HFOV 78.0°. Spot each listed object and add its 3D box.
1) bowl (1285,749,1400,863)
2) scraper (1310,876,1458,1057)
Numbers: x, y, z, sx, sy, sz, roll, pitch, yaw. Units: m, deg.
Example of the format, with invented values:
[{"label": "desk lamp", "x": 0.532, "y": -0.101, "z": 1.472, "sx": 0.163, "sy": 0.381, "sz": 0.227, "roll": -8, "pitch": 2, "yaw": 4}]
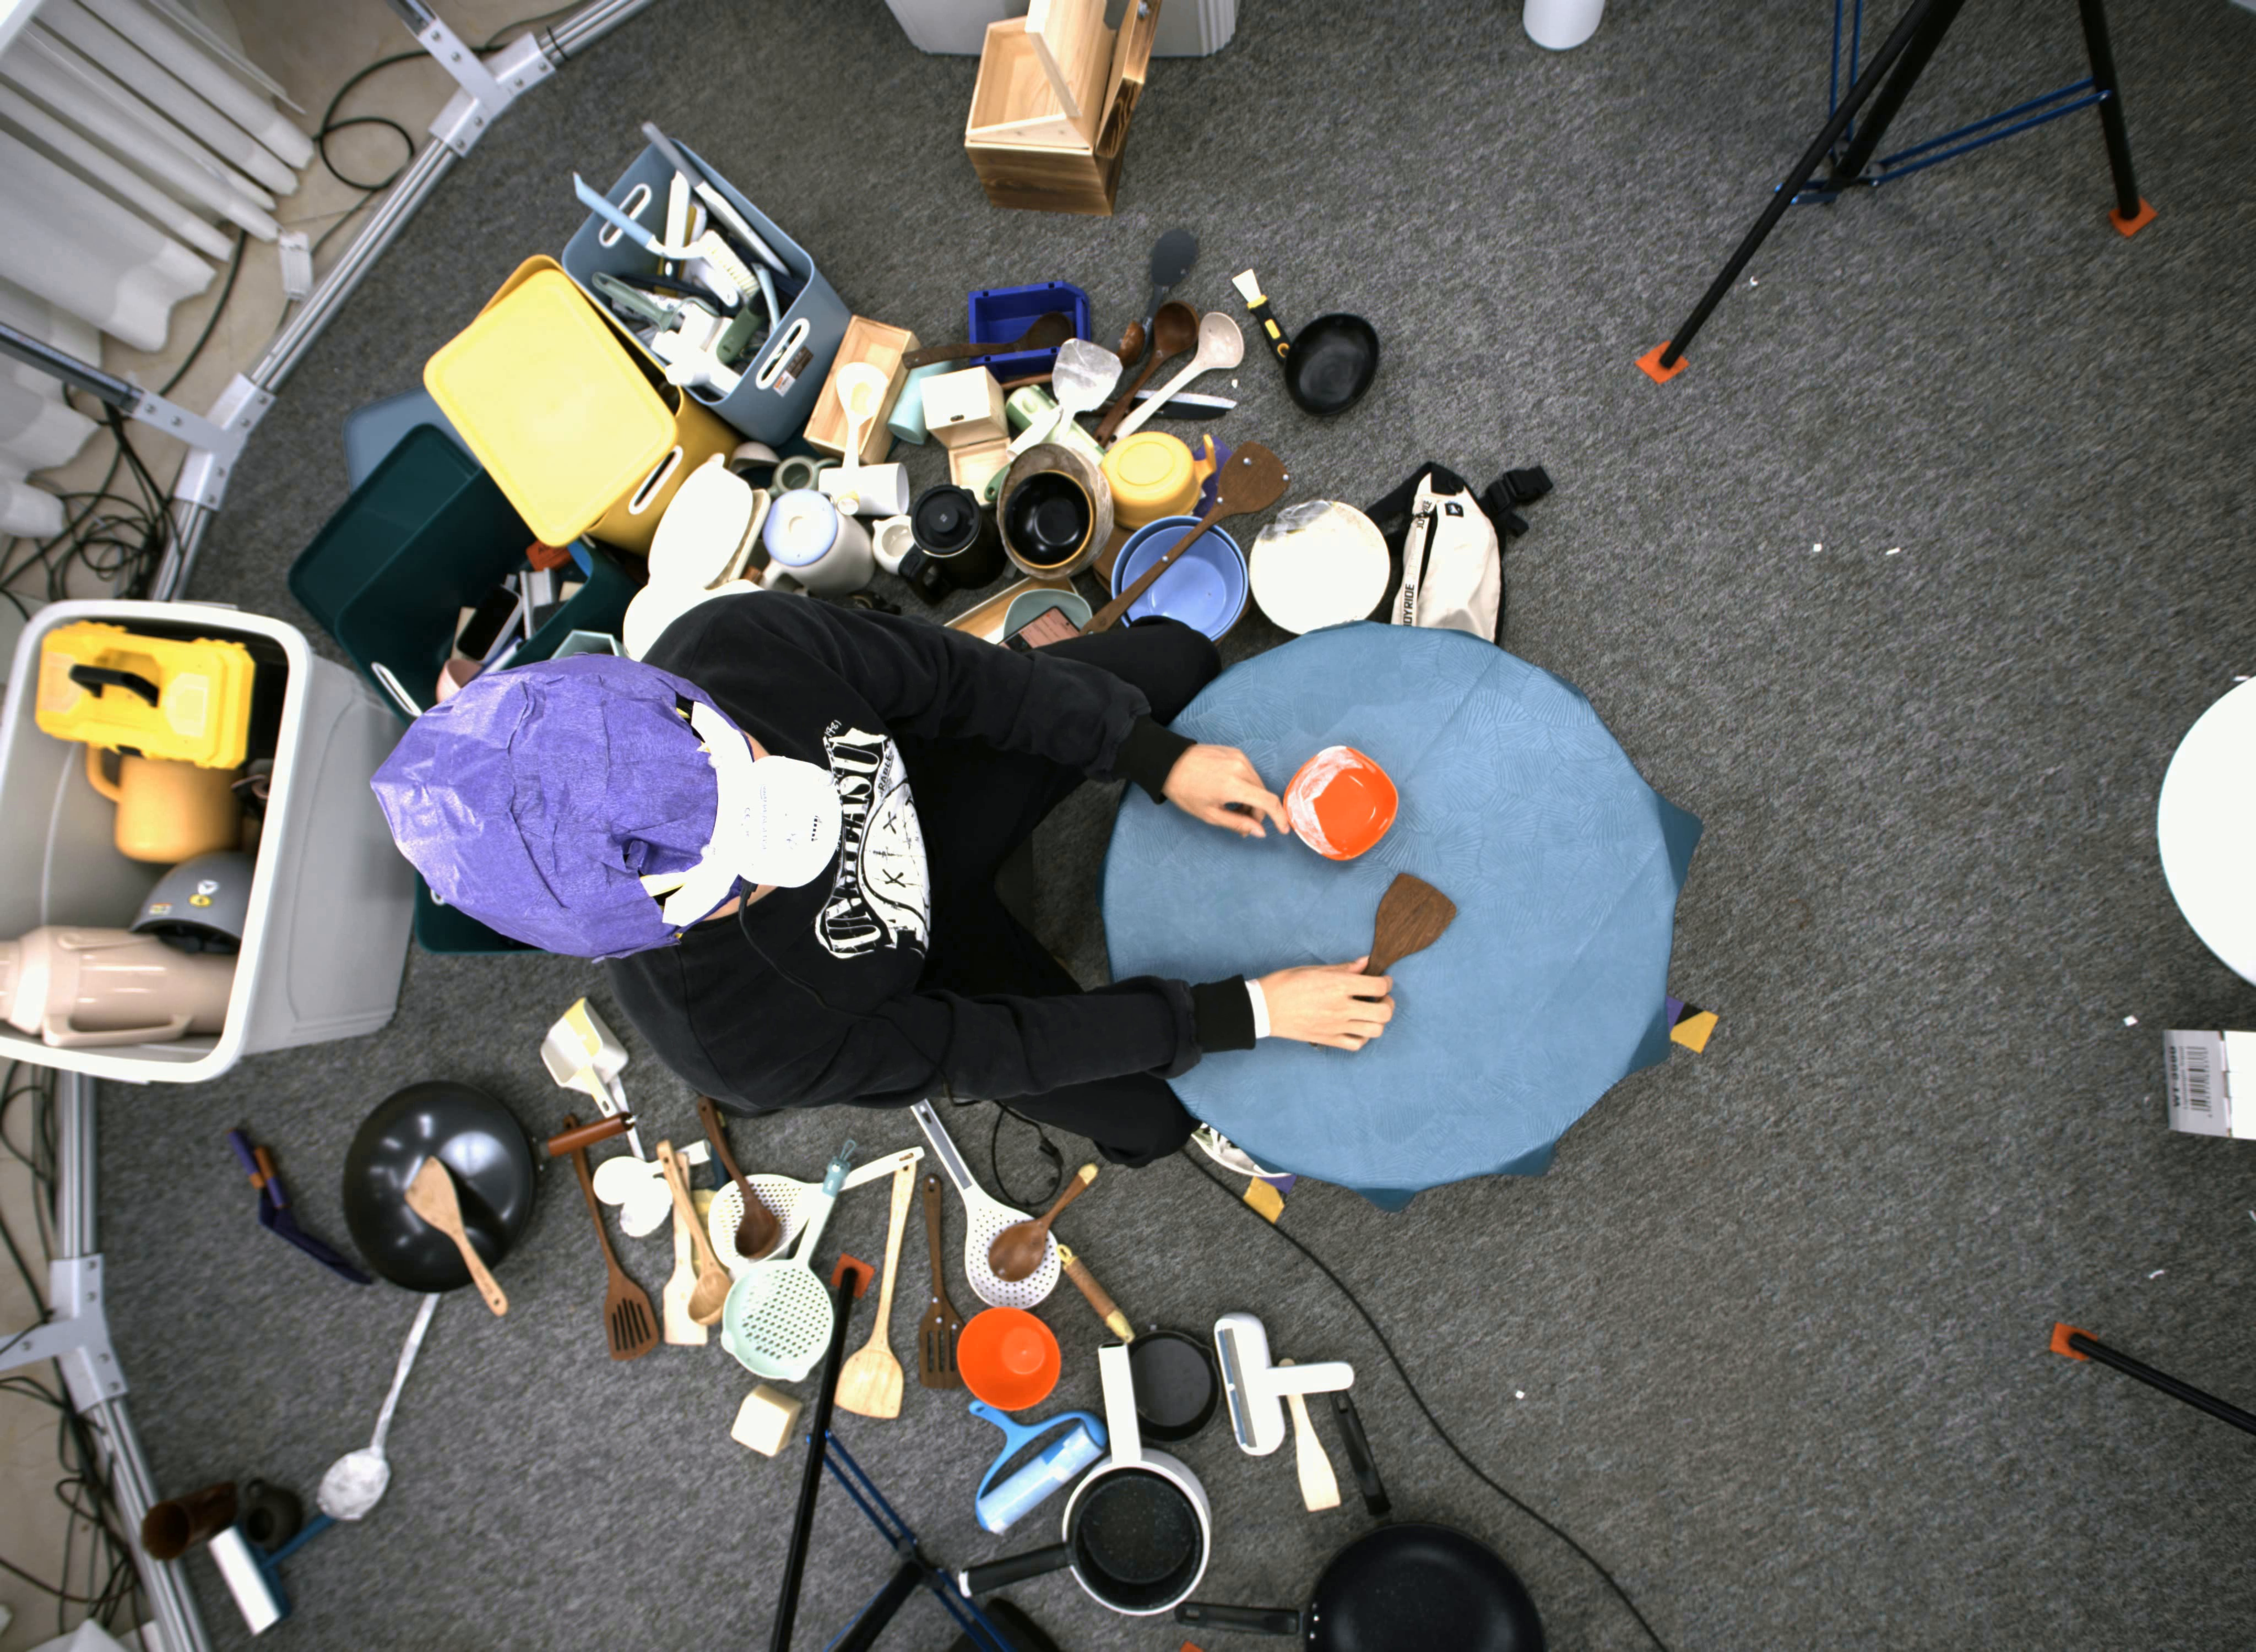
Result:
[{"label": "bowl", "x": 0.226, "y": -0.019, "z": 1.454, "sx": 0.119, "sy": 0.051, "sz": 0.118, "roll": -1, "pitch": 86, "yaw": 8}, {"label": "scraper", "x": 0.261, "y": 0.152, "z": 1.457, "sx": 0.075, "sy": 0.011, "sz": 0.212, "roll": 36, "pitch": 94, "yaw": 11}]
